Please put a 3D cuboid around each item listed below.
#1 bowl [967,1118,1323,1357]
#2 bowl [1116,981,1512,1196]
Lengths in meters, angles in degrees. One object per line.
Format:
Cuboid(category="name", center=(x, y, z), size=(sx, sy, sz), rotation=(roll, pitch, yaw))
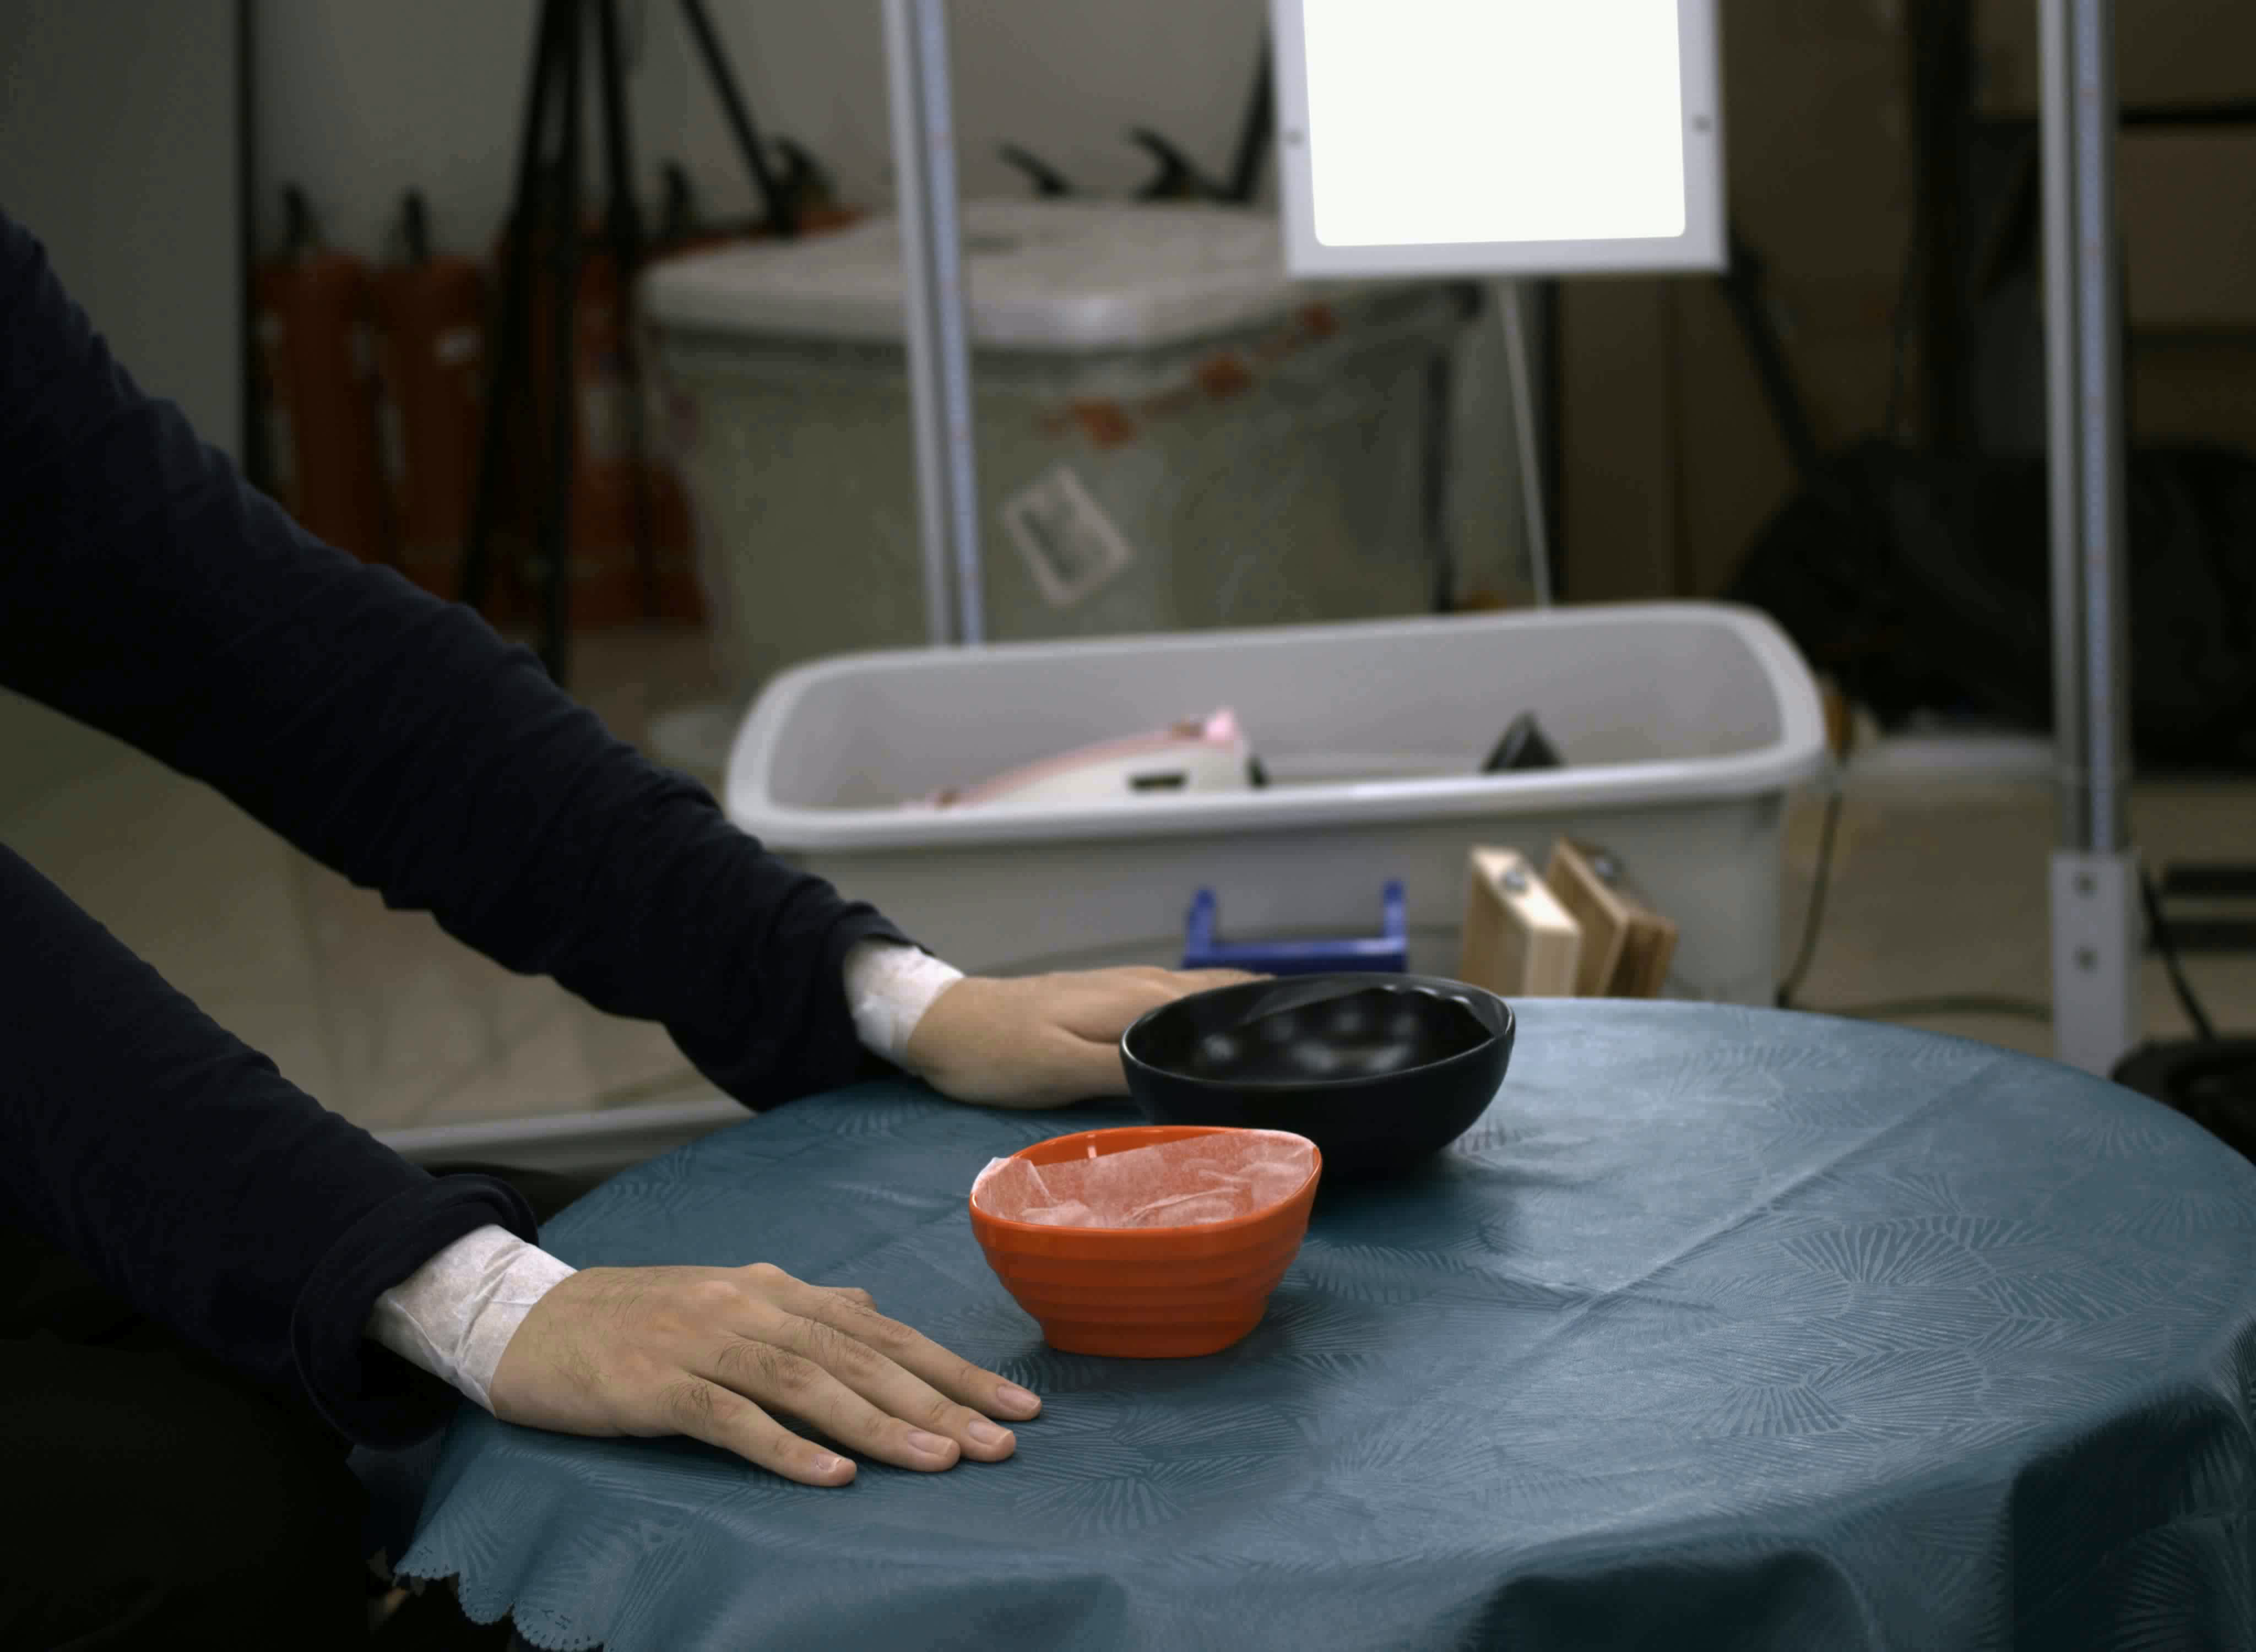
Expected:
Cuboid(category="bowl", center=(0.007, 0.134, 1.759), size=(0.118, 0.051, 0.119), rotation=(-4, 15, 0))
Cuboid(category="bowl", center=(0.068, 0.095, 1.914), size=(0.140, 0.050, 0.140), rotation=(-9, 12, 0))
